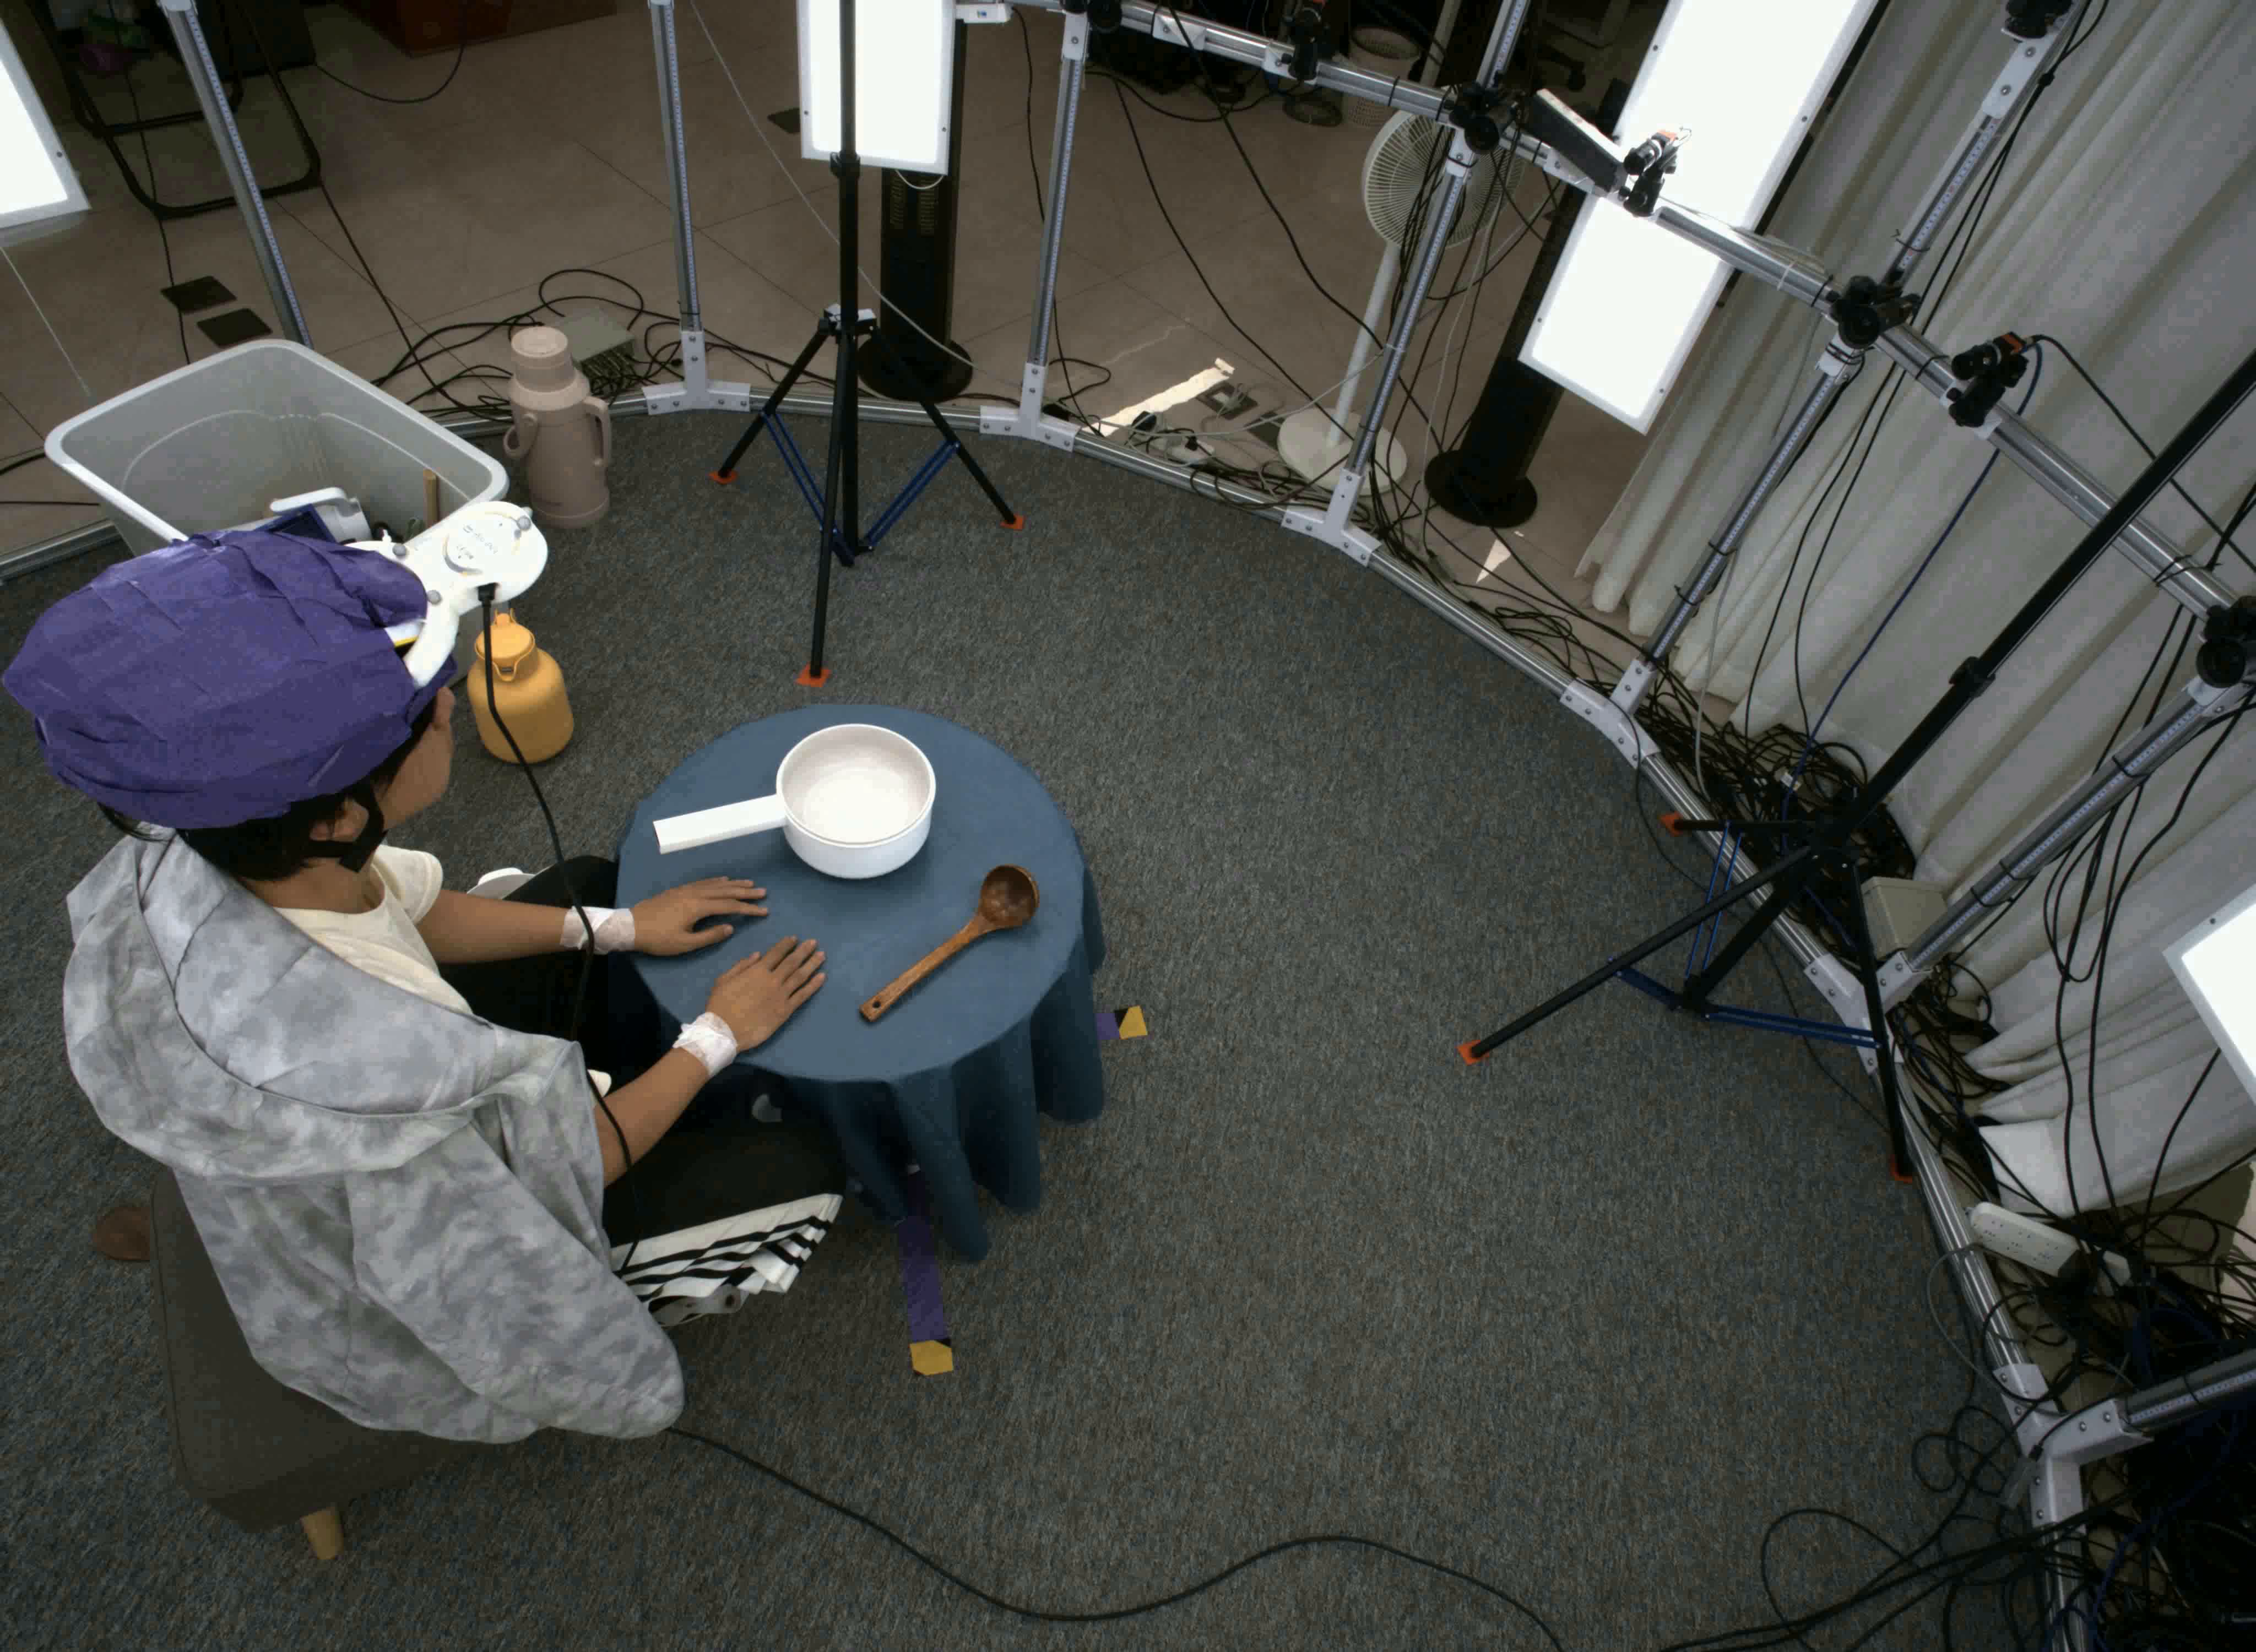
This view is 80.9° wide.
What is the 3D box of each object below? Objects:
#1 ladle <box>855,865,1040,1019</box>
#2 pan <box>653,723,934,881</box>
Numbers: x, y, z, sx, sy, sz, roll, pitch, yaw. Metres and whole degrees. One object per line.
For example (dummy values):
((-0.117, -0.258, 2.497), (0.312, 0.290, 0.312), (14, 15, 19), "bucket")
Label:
((-0.222, 0.141, 1.620), (0.080, 0.078, 0.275), (43, 55, 18), "ladle")
((-0.425, -0.008, 1.670), (0.356, 0.104, 0.196), (-15, 60, -22), "pan")
